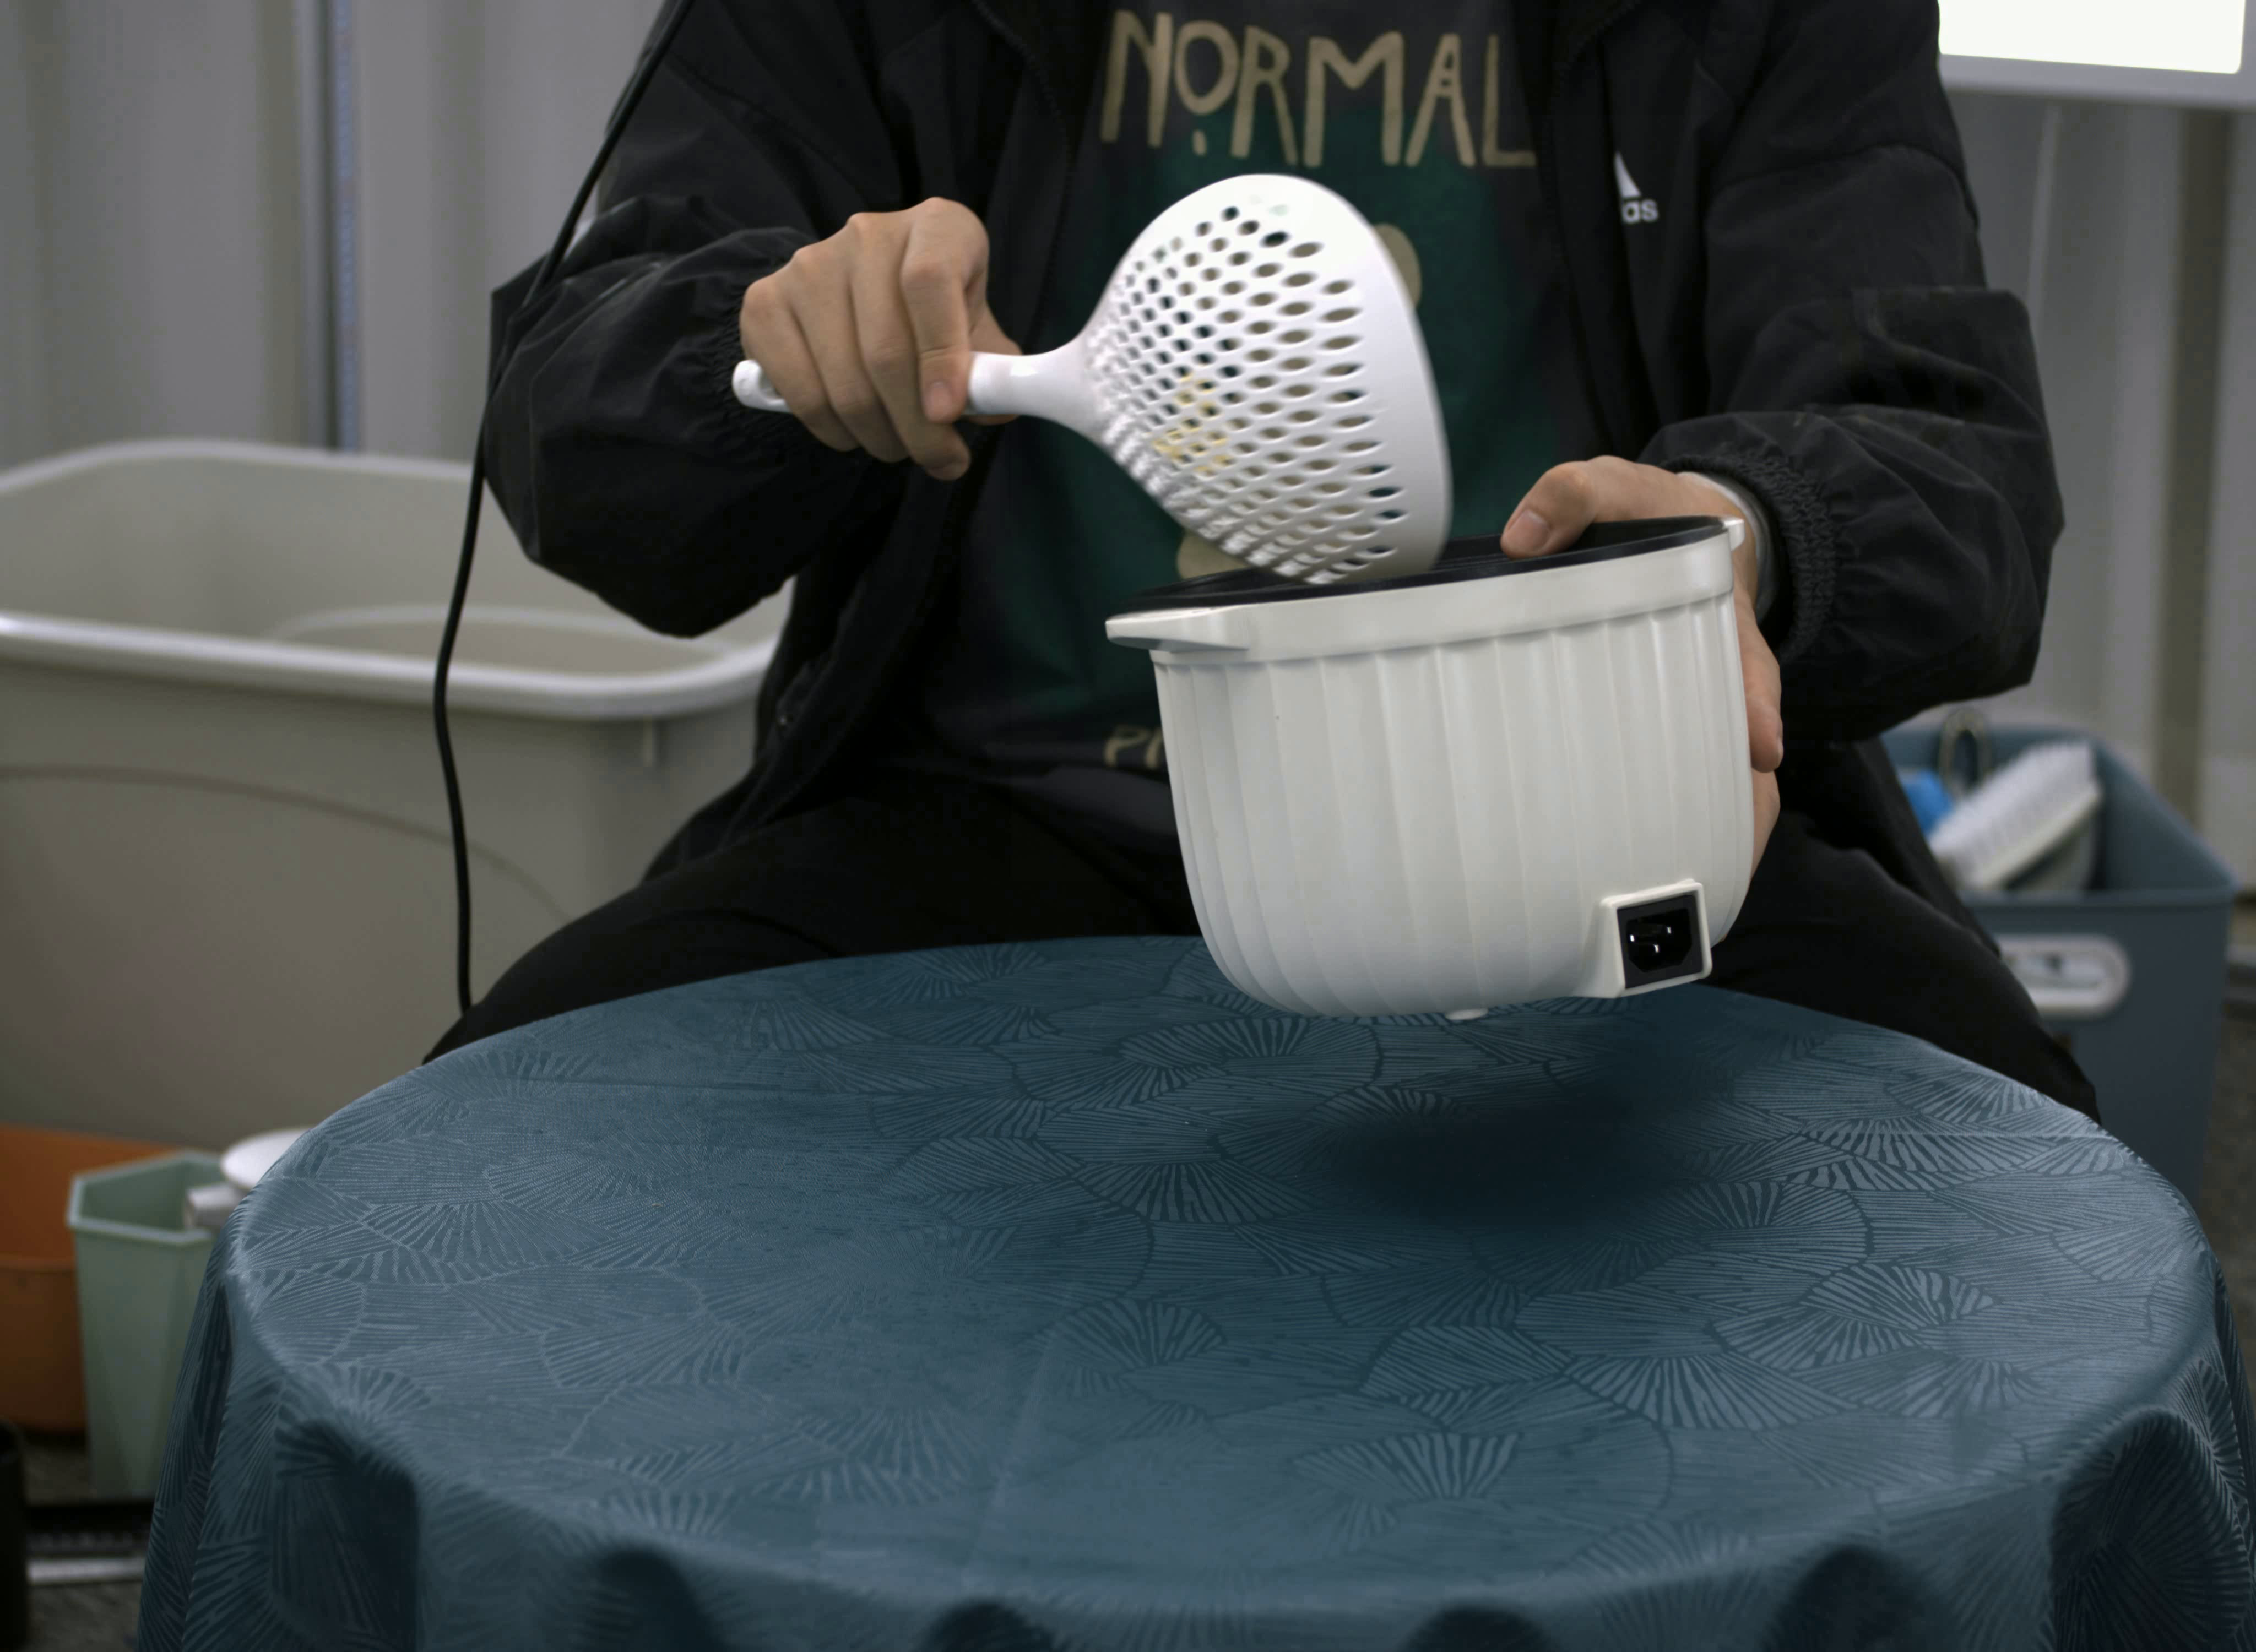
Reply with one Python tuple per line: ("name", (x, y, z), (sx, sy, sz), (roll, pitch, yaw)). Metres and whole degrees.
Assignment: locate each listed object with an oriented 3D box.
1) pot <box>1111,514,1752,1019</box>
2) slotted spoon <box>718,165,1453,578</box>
("pot", (0.098, -0.018, 1.626), (0.241, 0.143, 0.188), (-10, 9, -35))
("slotted spoon", (-0.023, -0.138, 1.670), (0.050, 0.138, 0.344), (-24, 19, -30))
